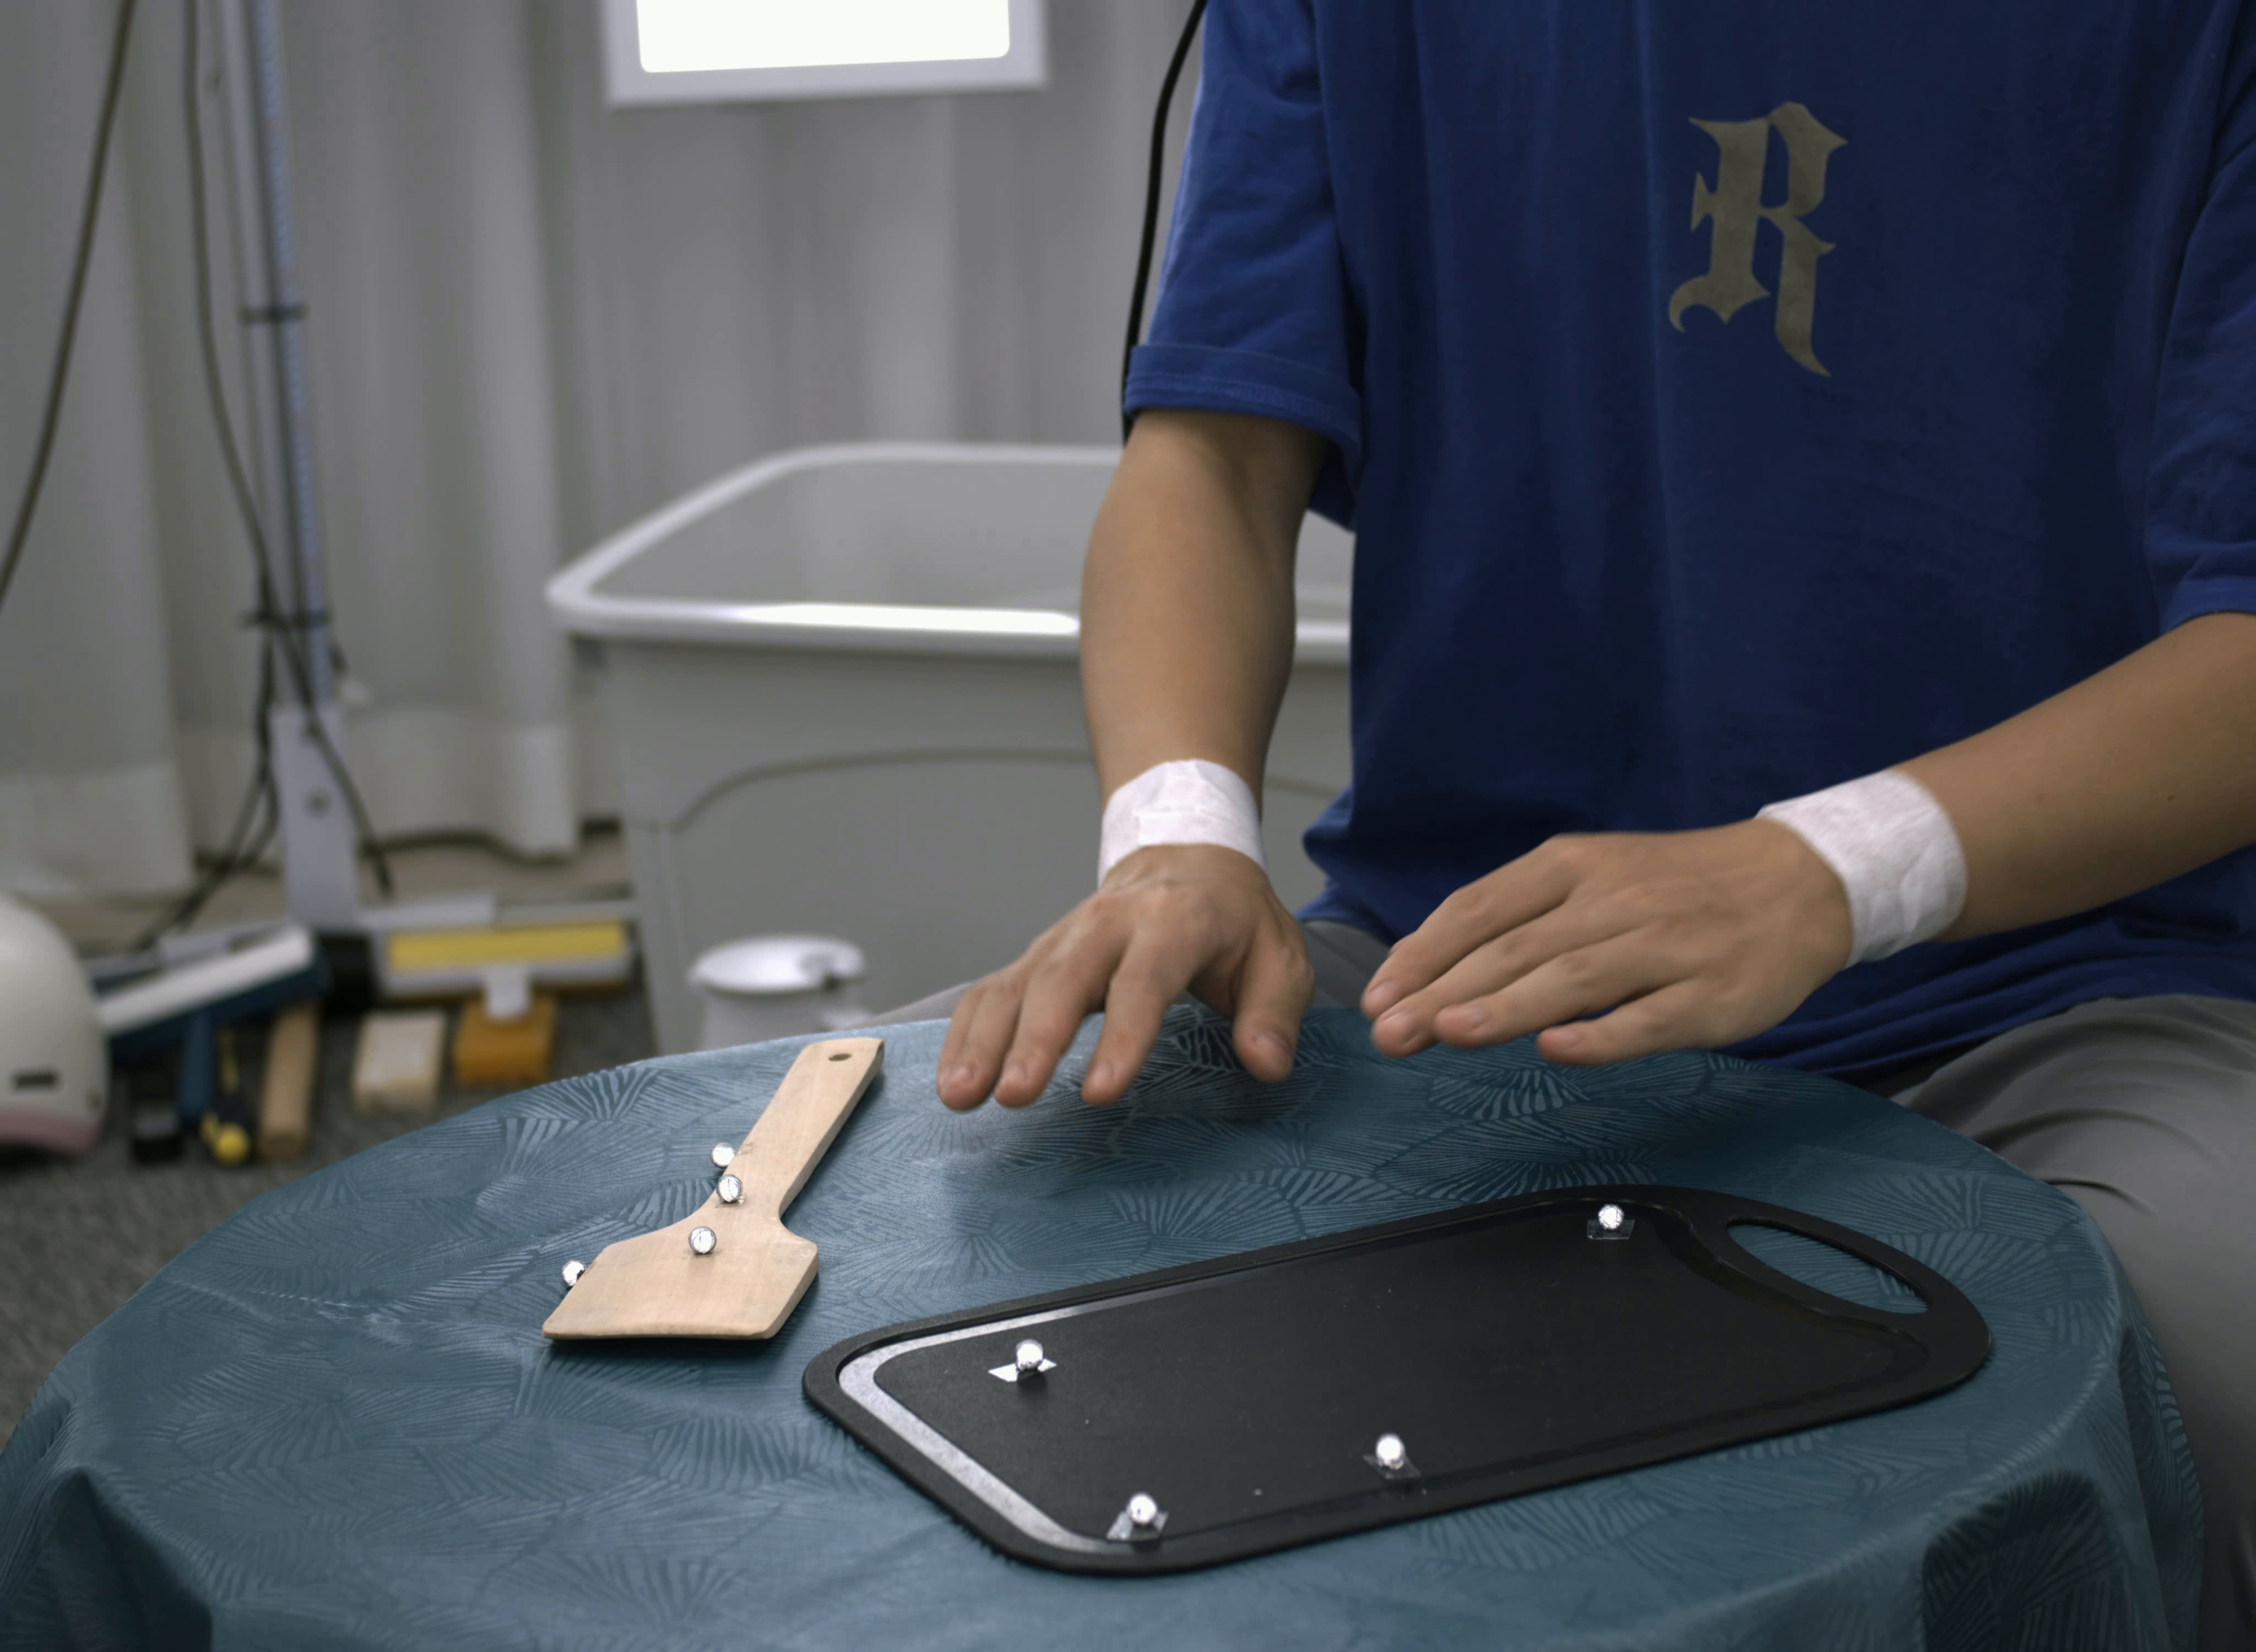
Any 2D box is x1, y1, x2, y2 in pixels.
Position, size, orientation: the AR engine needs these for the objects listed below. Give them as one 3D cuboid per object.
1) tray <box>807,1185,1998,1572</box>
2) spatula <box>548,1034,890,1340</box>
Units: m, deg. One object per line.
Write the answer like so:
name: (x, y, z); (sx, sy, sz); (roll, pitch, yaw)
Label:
tray: (0.083, 0.149, 1.551); (0.324, 0.010, 0.213); (-9, 16, -23)
spatula: (-0.116, 0.112, 1.725); (0.072, 0.010, 0.294); (-2, 15, 9)
